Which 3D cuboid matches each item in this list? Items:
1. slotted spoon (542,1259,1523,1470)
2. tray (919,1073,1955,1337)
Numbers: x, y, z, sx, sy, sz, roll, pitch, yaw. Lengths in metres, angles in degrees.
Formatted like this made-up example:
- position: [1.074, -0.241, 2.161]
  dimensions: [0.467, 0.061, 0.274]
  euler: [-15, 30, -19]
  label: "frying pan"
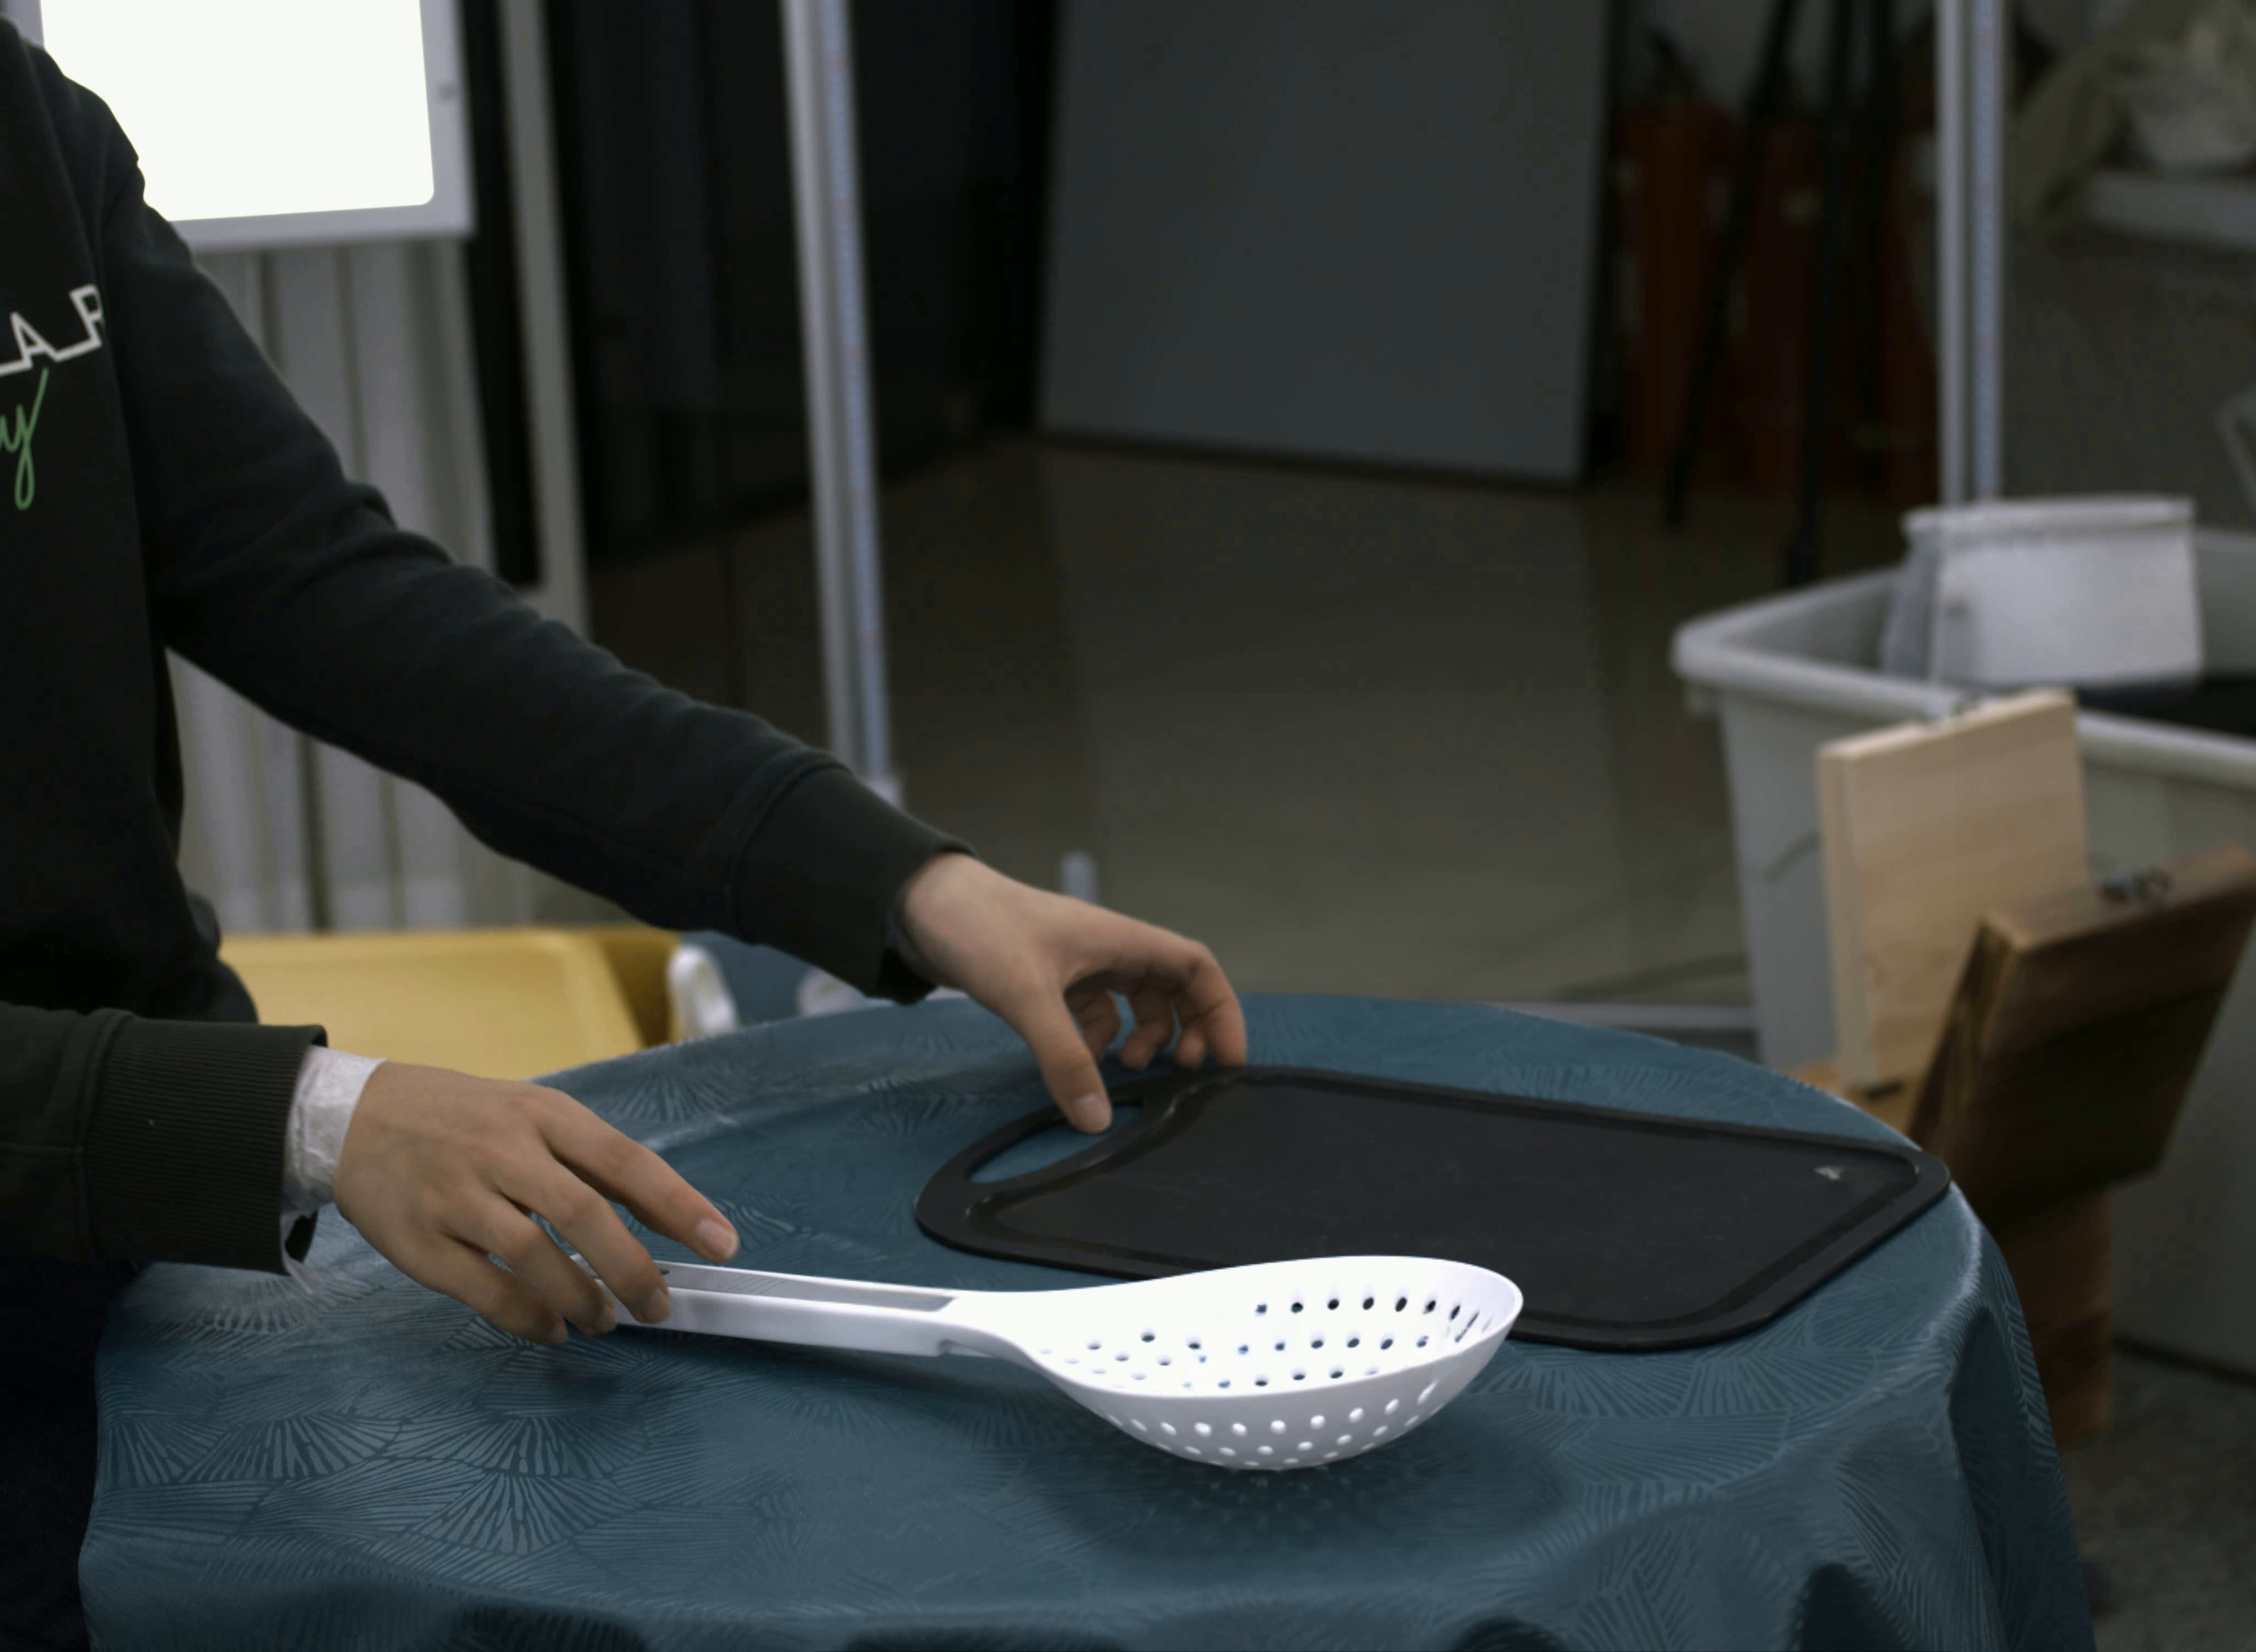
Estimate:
- position: [-0.040, 0.147, 1.585]
  dimensions: [0.352, 0.046, 0.133]
  euler: [6, 15, 38]
  label: "slotted spoon"
- position: [0.091, 0.118, 1.743]
  dimensions: [0.327, 0.010, 0.207]
  euler: [5, 16, 34]
  label: "tray"
